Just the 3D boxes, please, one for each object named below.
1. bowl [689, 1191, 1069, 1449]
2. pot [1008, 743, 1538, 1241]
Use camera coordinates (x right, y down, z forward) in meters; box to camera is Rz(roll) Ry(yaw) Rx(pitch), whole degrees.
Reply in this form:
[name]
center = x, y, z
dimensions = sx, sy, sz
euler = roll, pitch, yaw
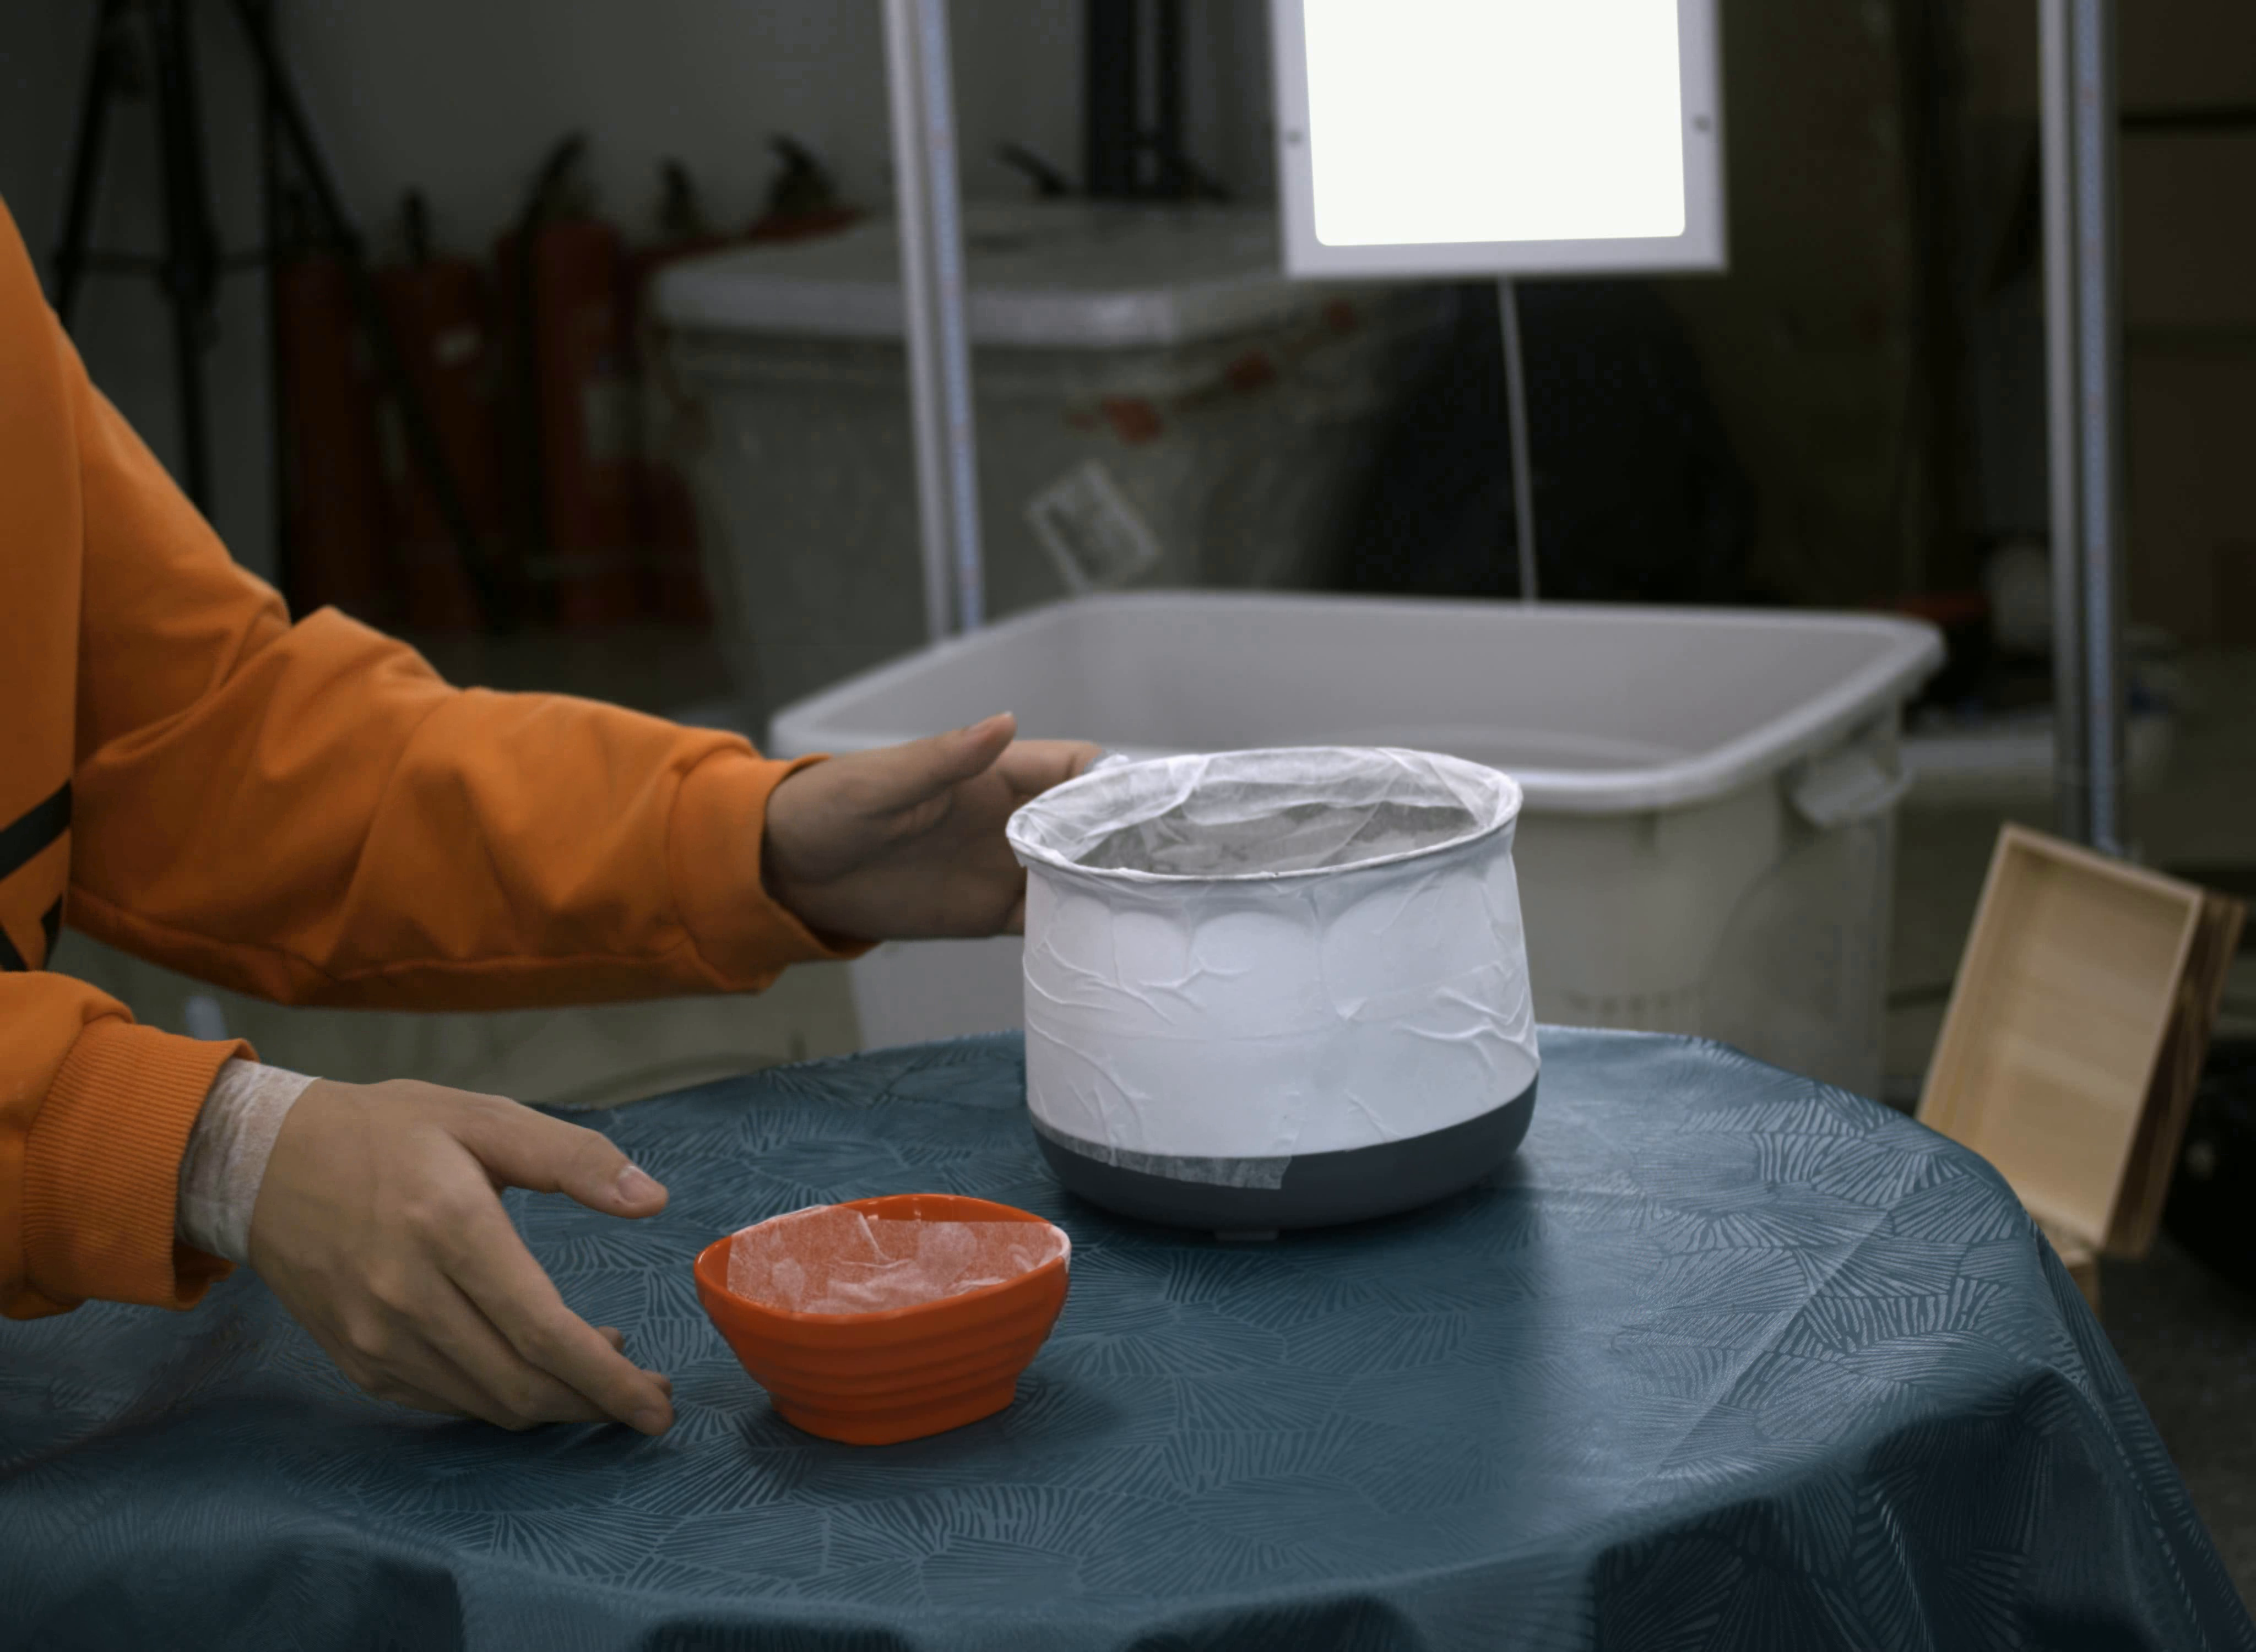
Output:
[bowl]
center = -0.075, 0.155, 1.704
dimensions = 0.118, 0.051, 0.119
euler = -5, 15, 0
[pot]
center = 0.036, 0.050, 1.904
dimensions = 0.174, 0.137, 0.238
euler = -12, 16, -30
